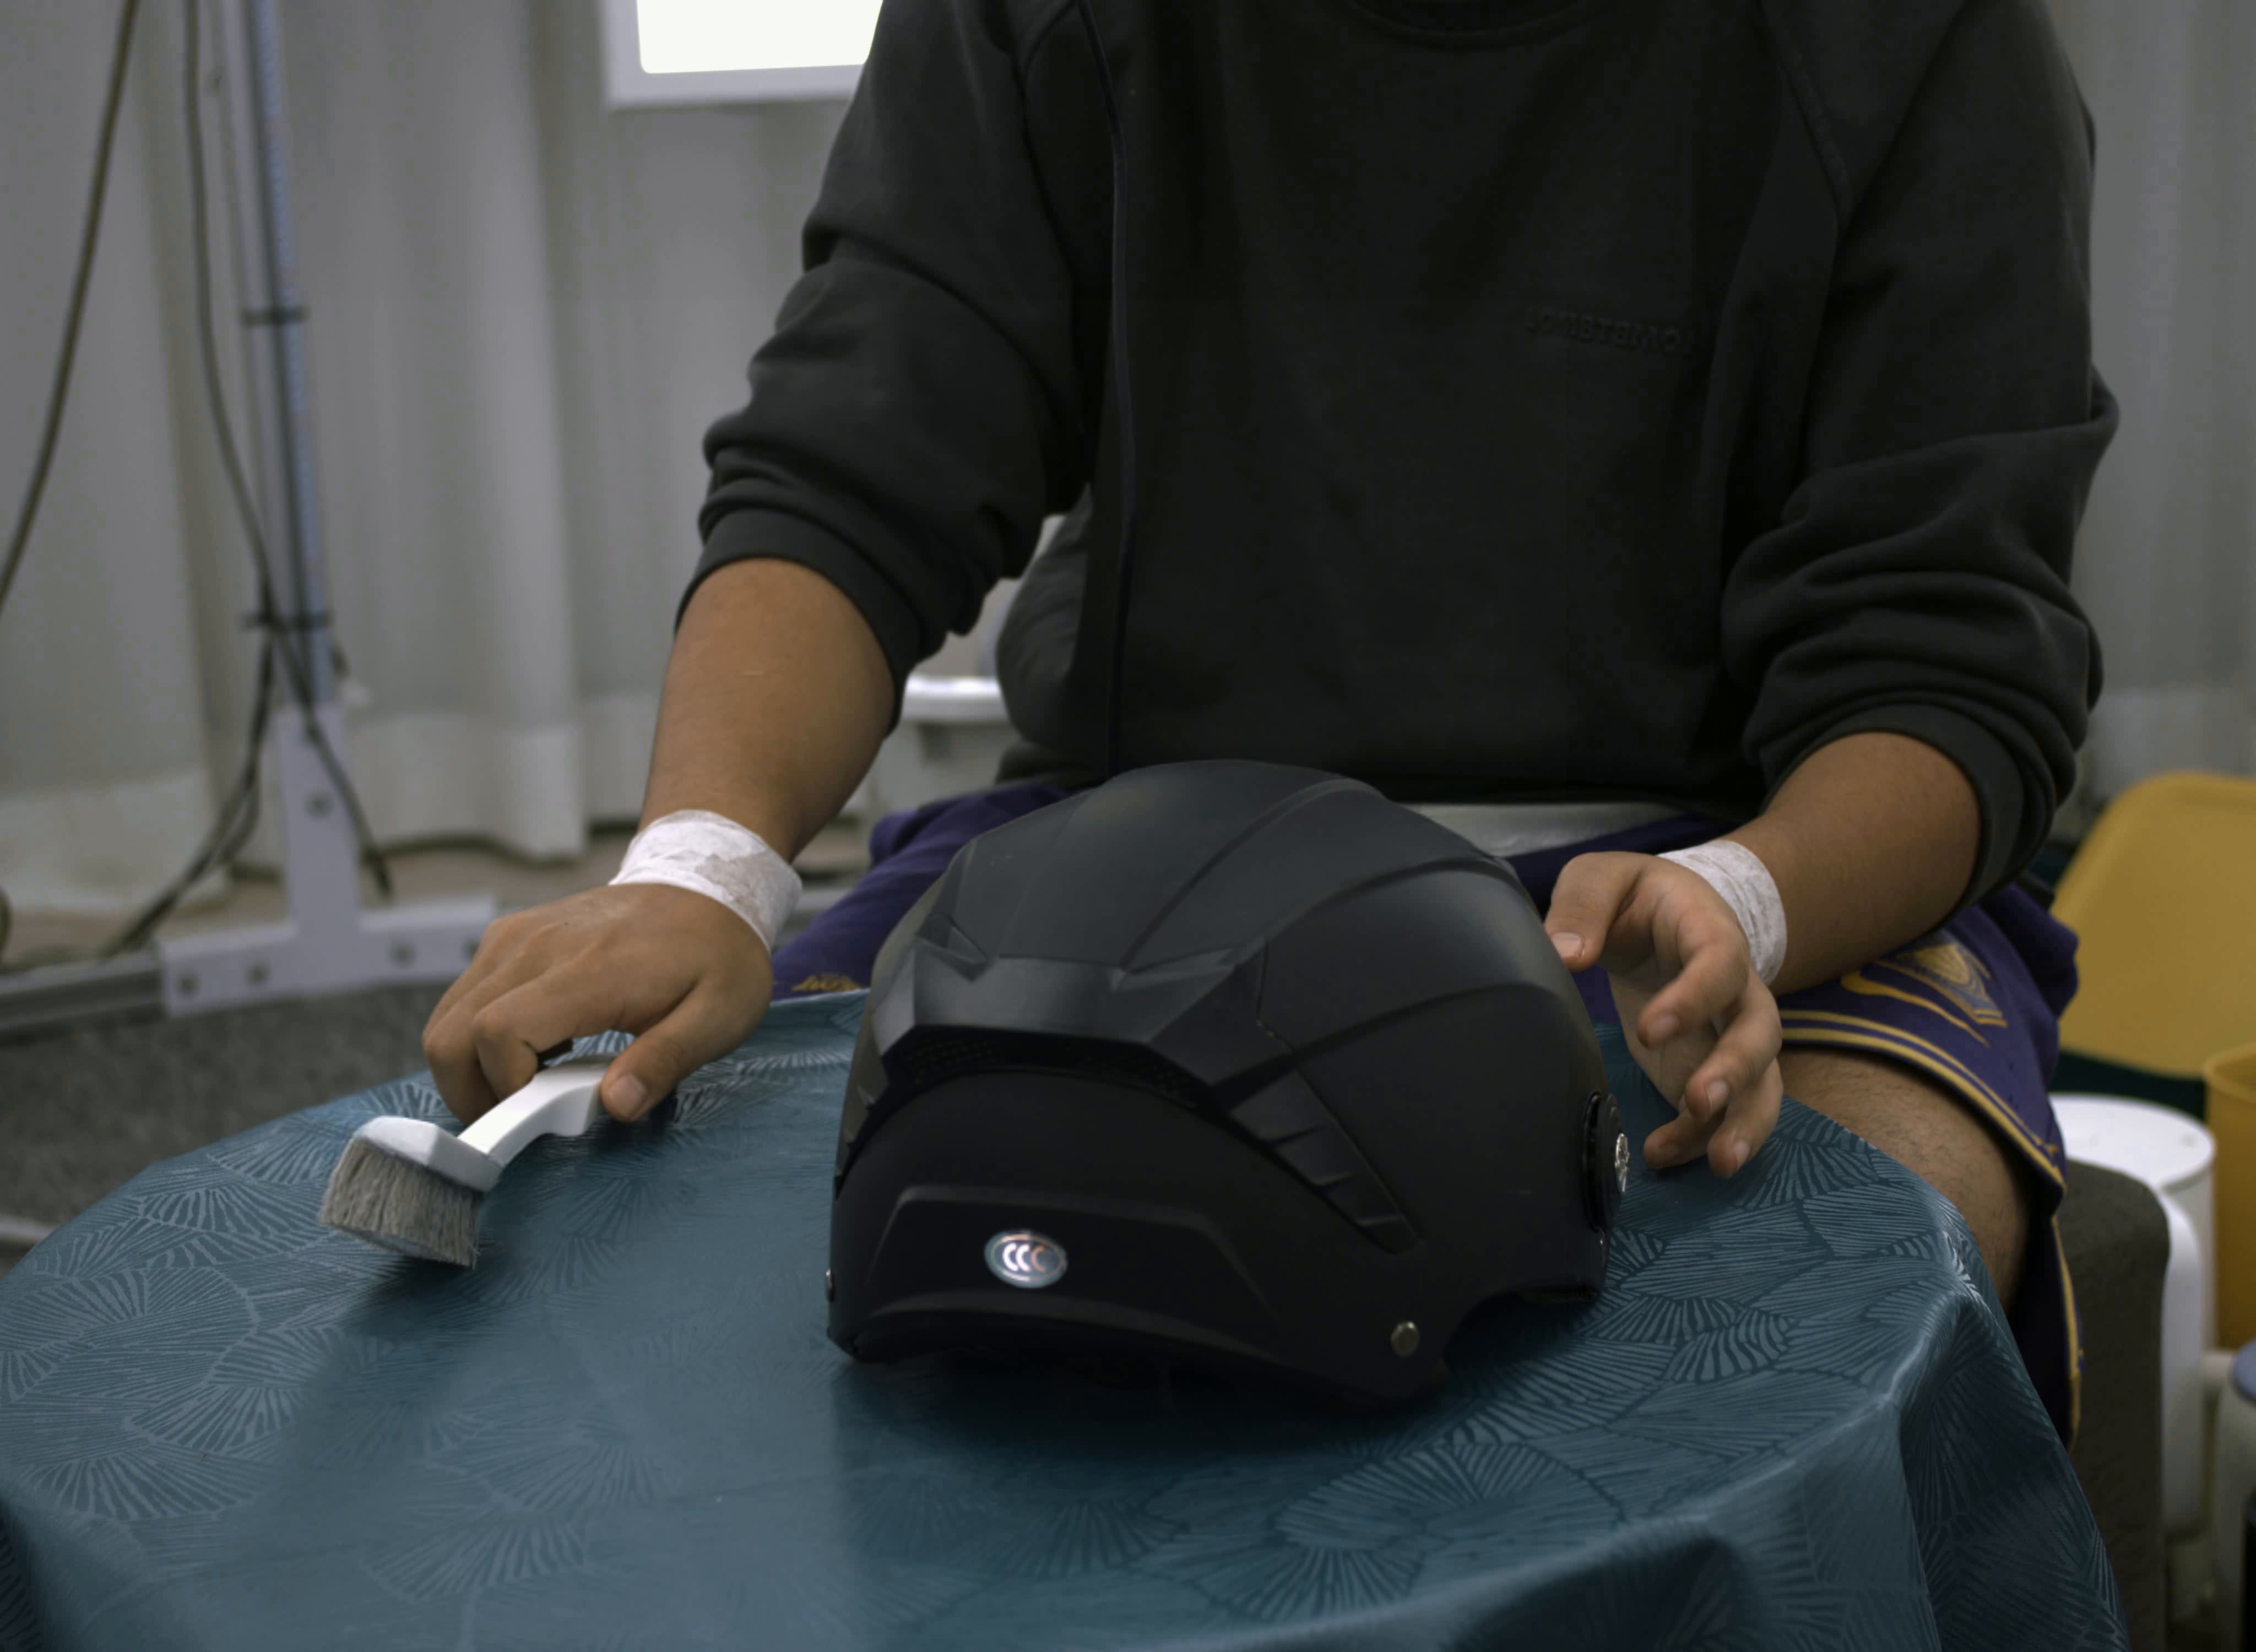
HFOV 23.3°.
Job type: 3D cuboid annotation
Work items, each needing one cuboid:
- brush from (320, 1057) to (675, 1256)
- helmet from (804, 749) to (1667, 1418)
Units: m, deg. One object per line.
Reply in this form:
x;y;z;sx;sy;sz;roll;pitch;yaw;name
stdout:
-0.196;0.105;1.746;0.034;0.050;0.243;4;3;15;brush
0.030;0.064;1.593;0.247;0.171;0.277;4;18;25;helmet
